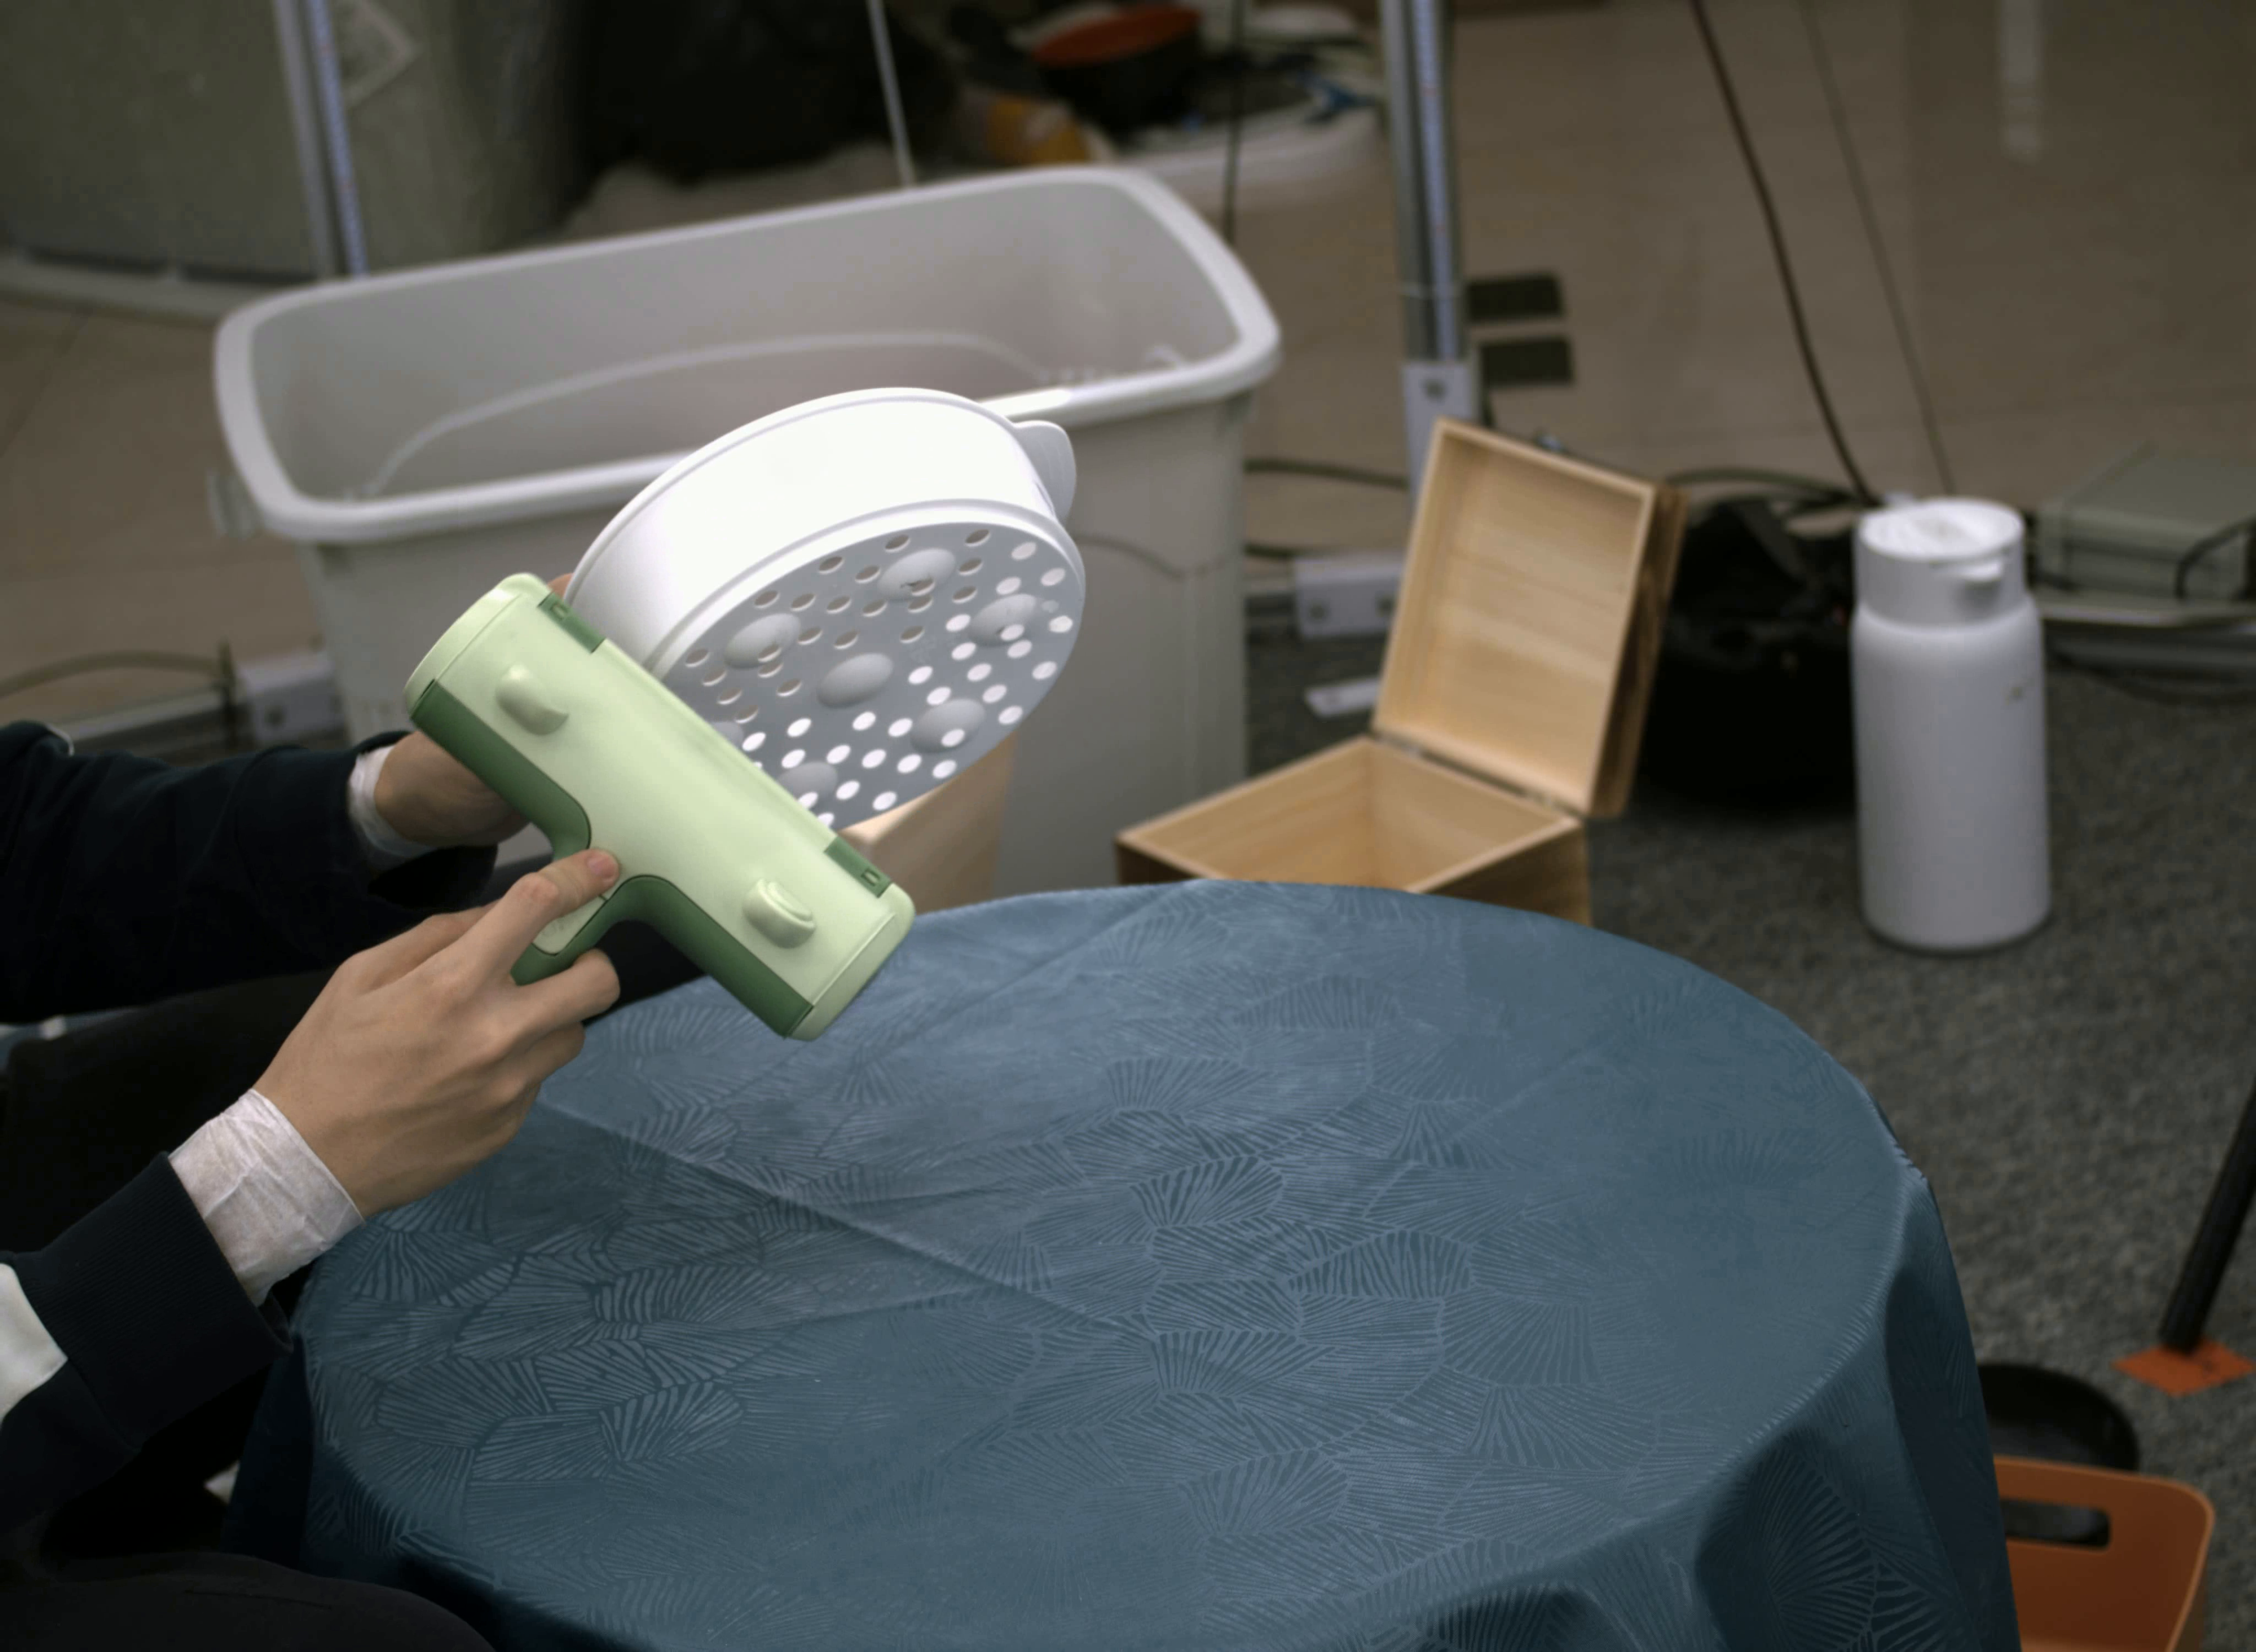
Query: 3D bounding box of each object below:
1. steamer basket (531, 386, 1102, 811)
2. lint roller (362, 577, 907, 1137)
[{"bbox_3d":[-0.110,-0.080,2.128,0.230,0.205,0.068,-18,64,-6],"label":"steamer basket"},{"bbox_3d":[-0.203,0.034,2.002,0.181,0.199,0.083,-50,3,-22],"label":"lint roller"}]
